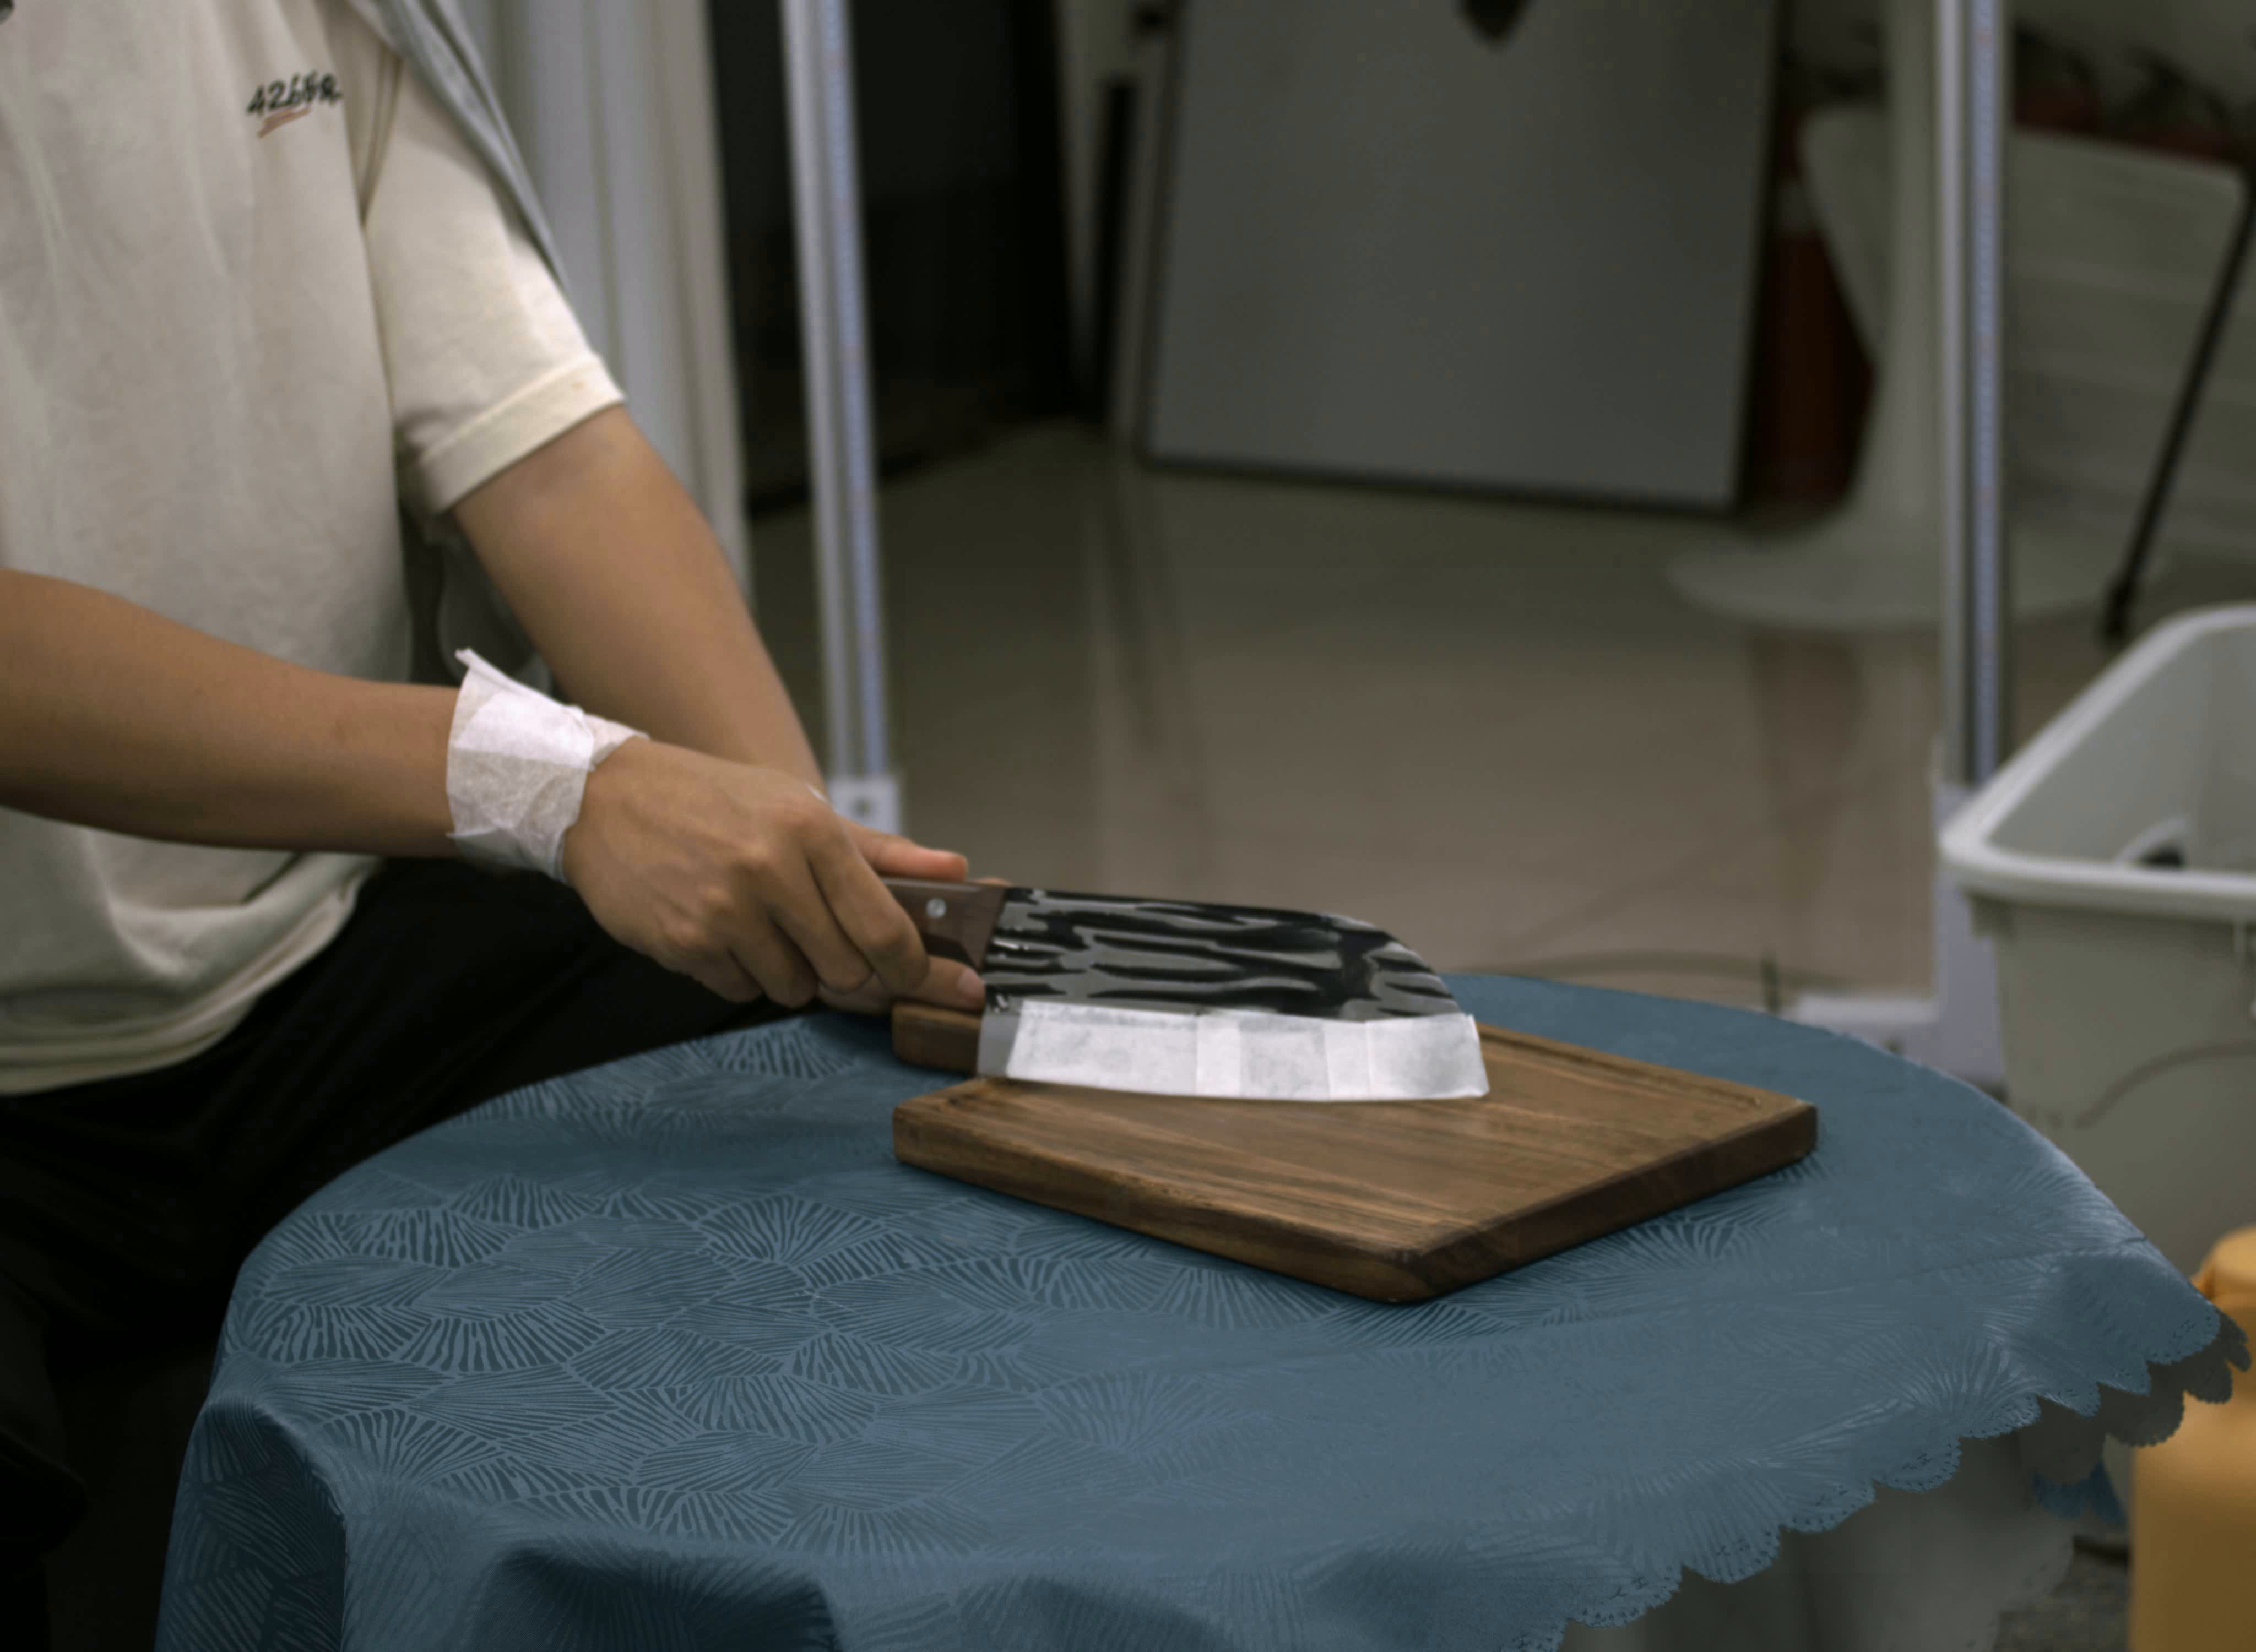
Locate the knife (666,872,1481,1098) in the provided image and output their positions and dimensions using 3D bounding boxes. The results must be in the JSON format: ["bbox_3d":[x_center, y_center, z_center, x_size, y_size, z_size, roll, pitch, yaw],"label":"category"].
[{"bbox_3d":[-0.022,0.055,1.838,0.298,0.069,0.024,5,-14,17],"label":"knife"}]

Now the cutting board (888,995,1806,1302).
[{"bbox_3d":[0.039,0.095,1.827,0.197,0.023,0.356,-16,17,-39],"label":"cutting board"}]
